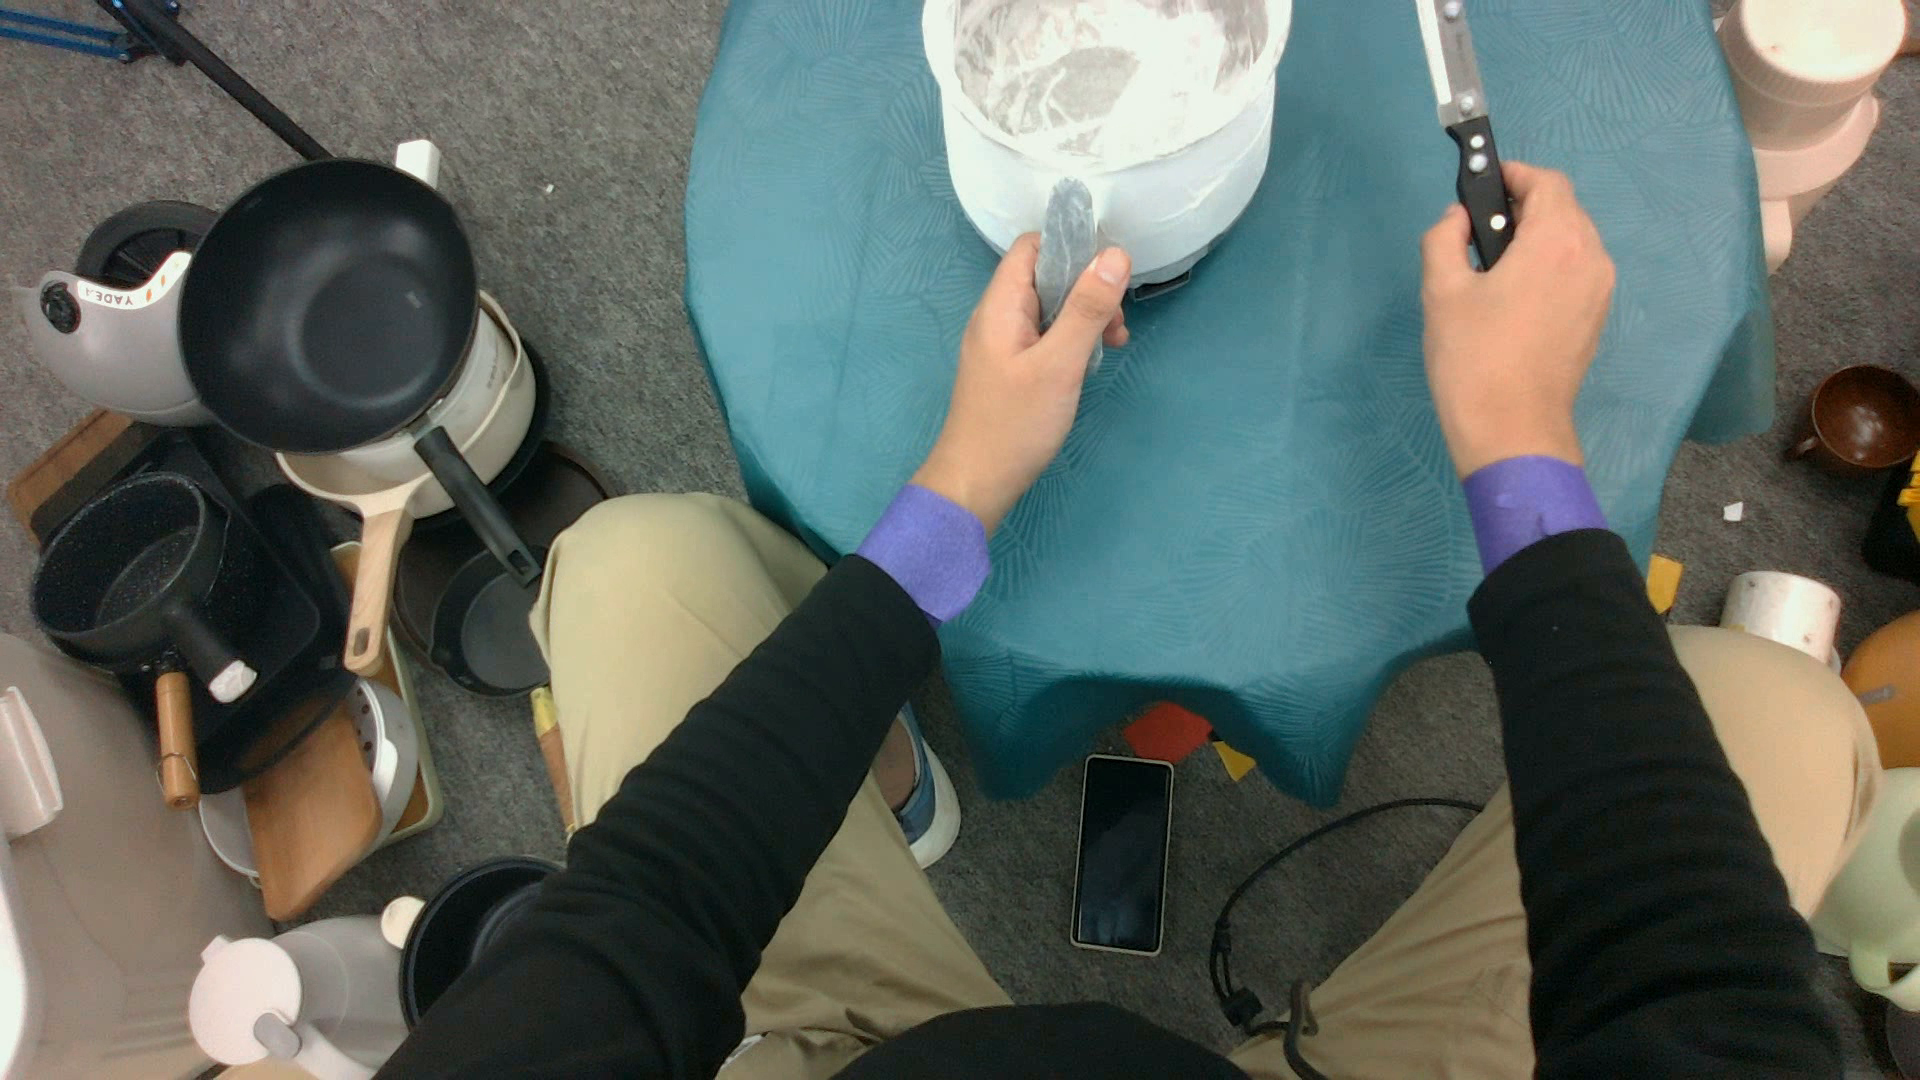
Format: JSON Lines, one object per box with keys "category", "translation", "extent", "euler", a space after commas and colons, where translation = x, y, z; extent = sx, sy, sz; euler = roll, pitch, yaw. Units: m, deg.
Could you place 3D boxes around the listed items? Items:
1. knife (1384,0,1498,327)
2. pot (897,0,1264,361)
{"category": "knife", "translation": [0.239, -0.222, 0.695], "extent": [0.024, 0.016, 0.238], "euler": [-13, 79, 19]}
{"category": "pot", "translation": [0.060, -0.217, 0.717], "extent": [0.178, 0.136, 0.234], "euler": [6, 70, 9]}
